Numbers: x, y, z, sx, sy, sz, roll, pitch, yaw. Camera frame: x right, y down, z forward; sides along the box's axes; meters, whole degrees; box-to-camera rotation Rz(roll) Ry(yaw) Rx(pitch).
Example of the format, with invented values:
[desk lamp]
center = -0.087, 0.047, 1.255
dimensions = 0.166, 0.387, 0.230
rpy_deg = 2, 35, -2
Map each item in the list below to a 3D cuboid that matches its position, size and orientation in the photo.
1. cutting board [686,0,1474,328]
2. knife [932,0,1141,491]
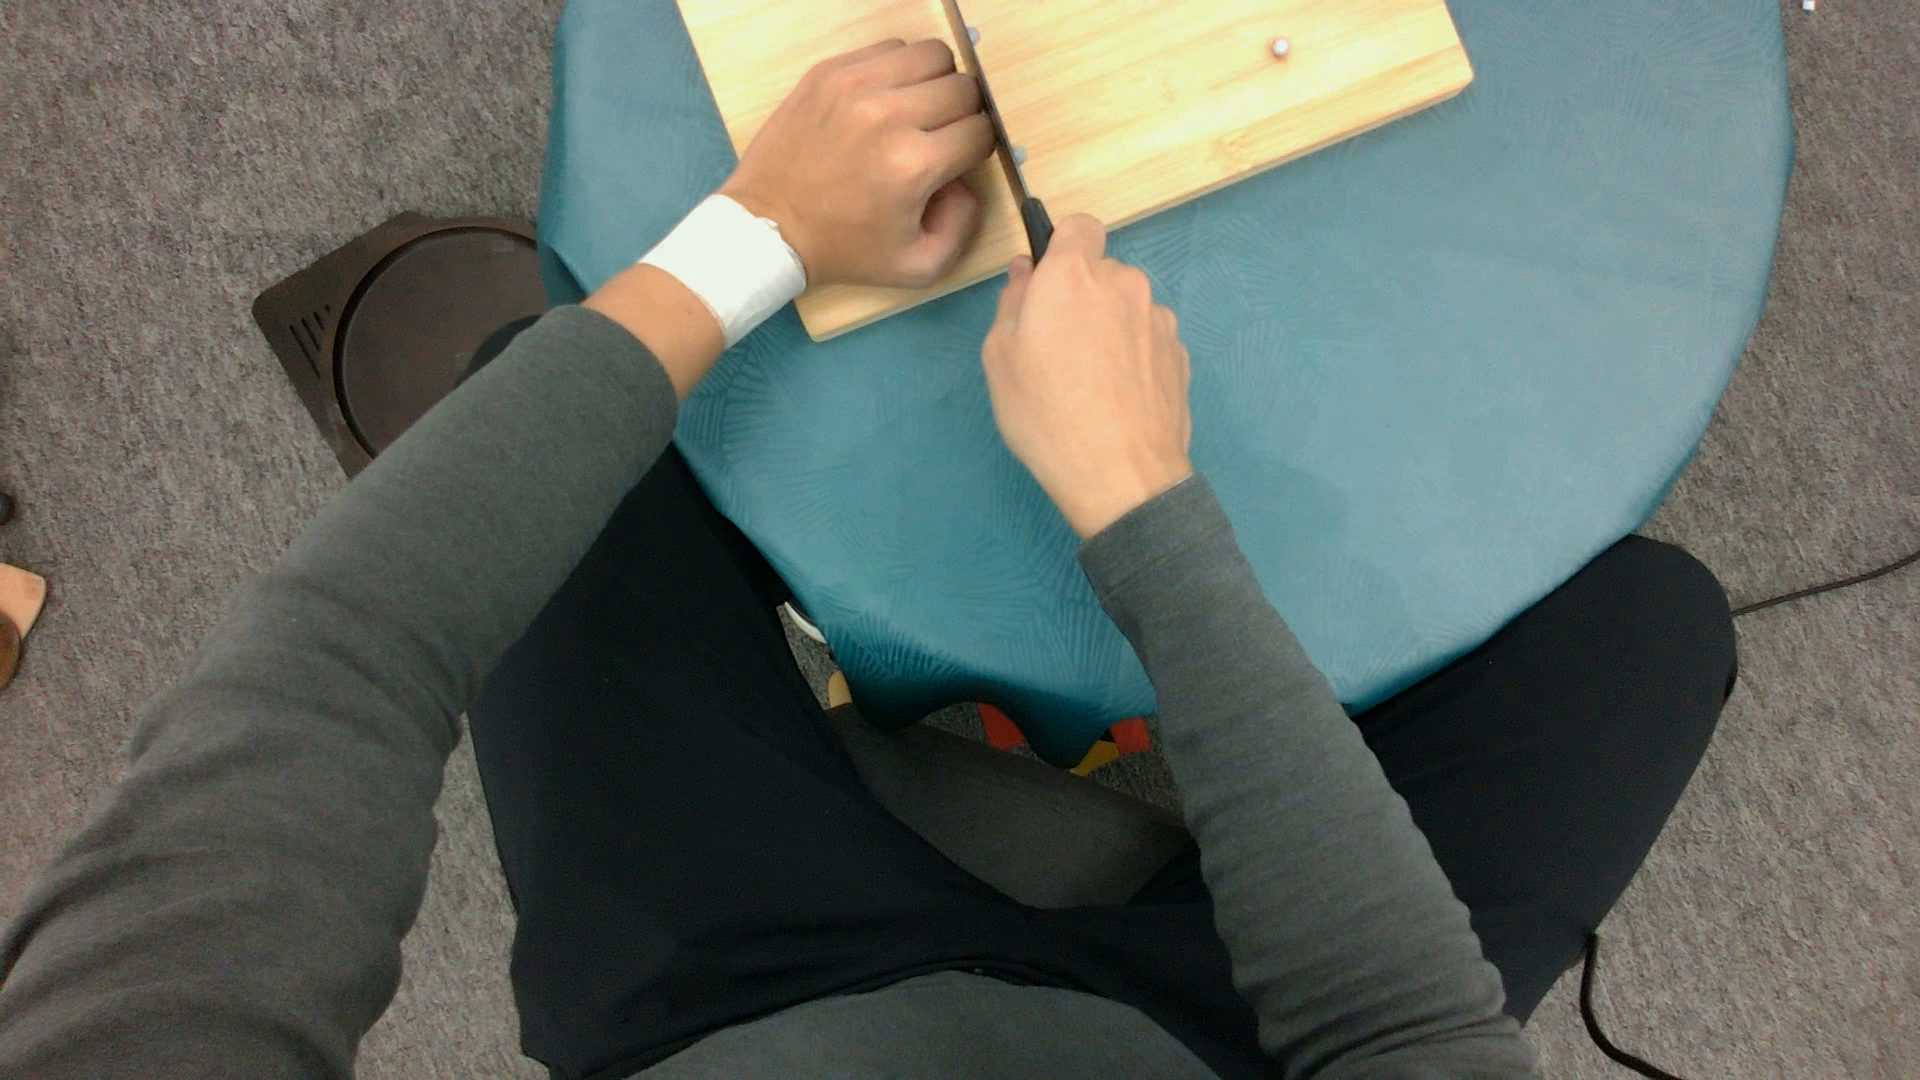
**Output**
[cutting board]
center = 0.042, -0.274, 0.666
dimensions = 0.349, 0.023, 0.251
rpy_deg = -22, 88, -3
[knife]
center = 0.019, -0.164, 0.607
dimensions = 0.021, 0.081, 0.302
rpy_deg = -20, 81, 2
